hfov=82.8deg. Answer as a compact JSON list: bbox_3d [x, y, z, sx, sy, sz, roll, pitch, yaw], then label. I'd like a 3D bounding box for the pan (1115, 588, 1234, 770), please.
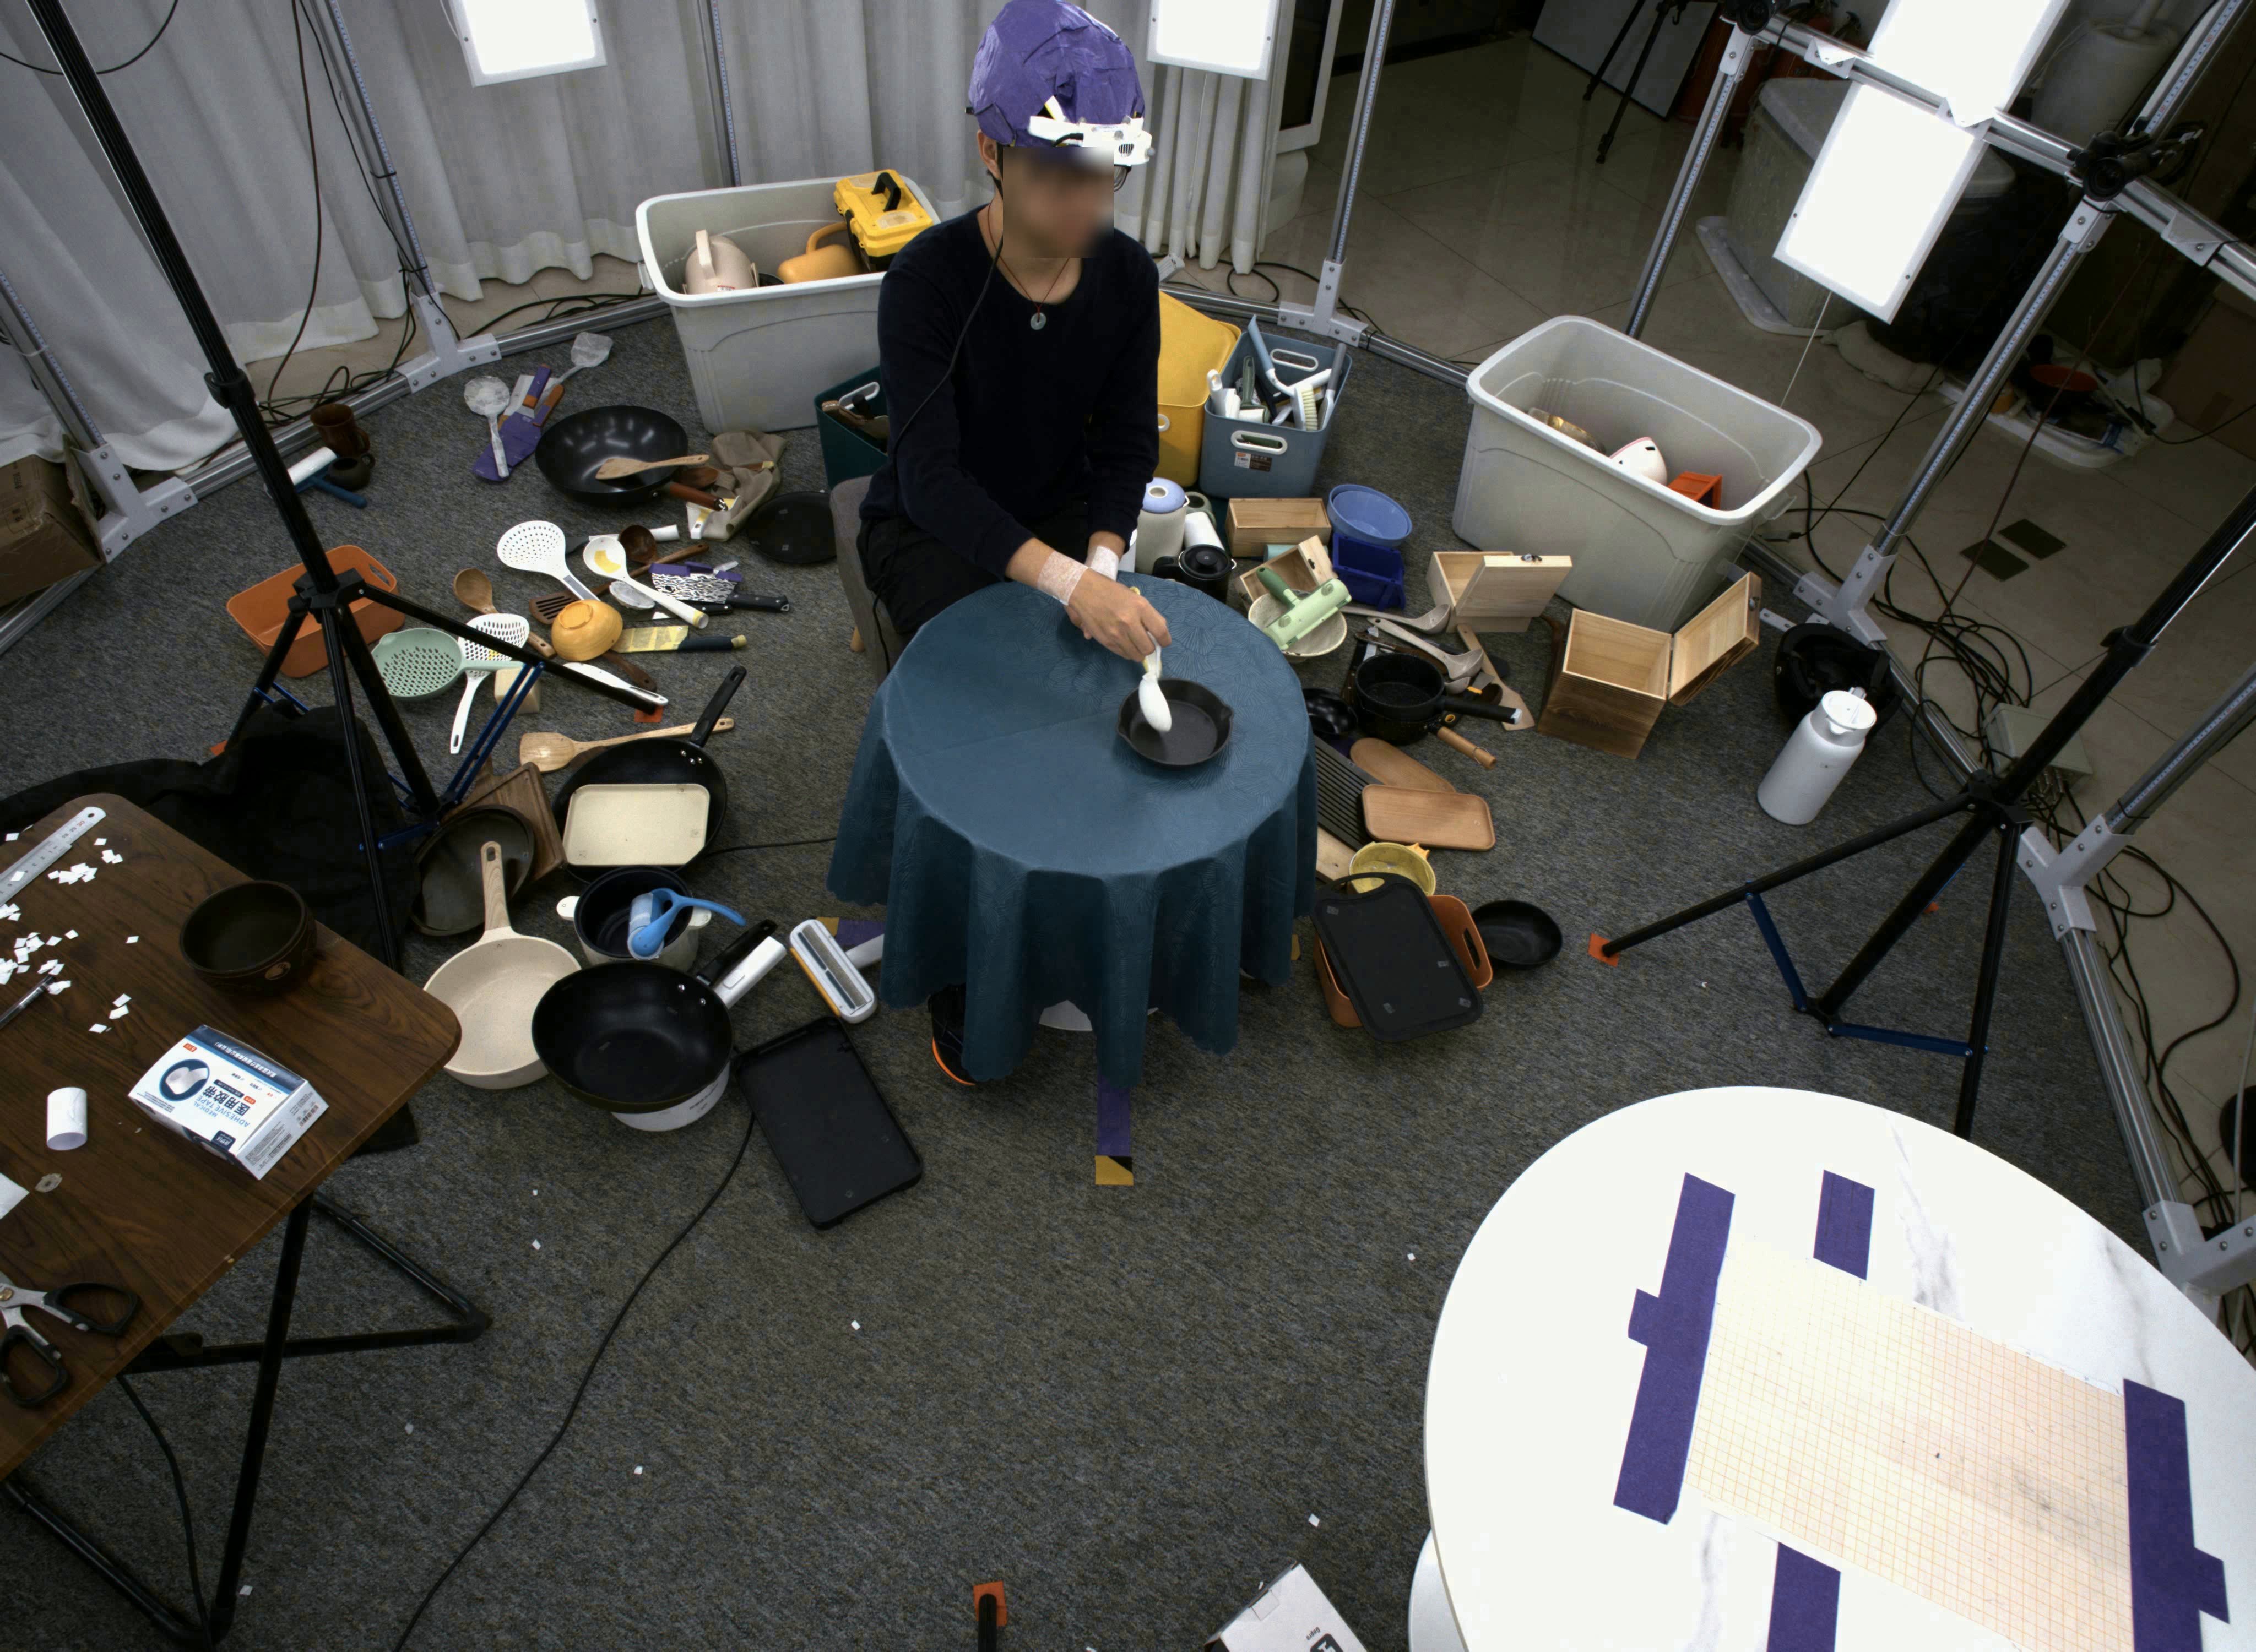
[{"bbox_3d":[0.044,-0.209,1.810,0.169,0.048,0.332,-9,55,-11],"label":"pan"}]

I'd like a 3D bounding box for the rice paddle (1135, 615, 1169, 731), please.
[{"bbox_3d":[0.031,-0.198,1.701,0.029,0.200,0.070,-33,58,-18],"label":"rice paddle"}]
